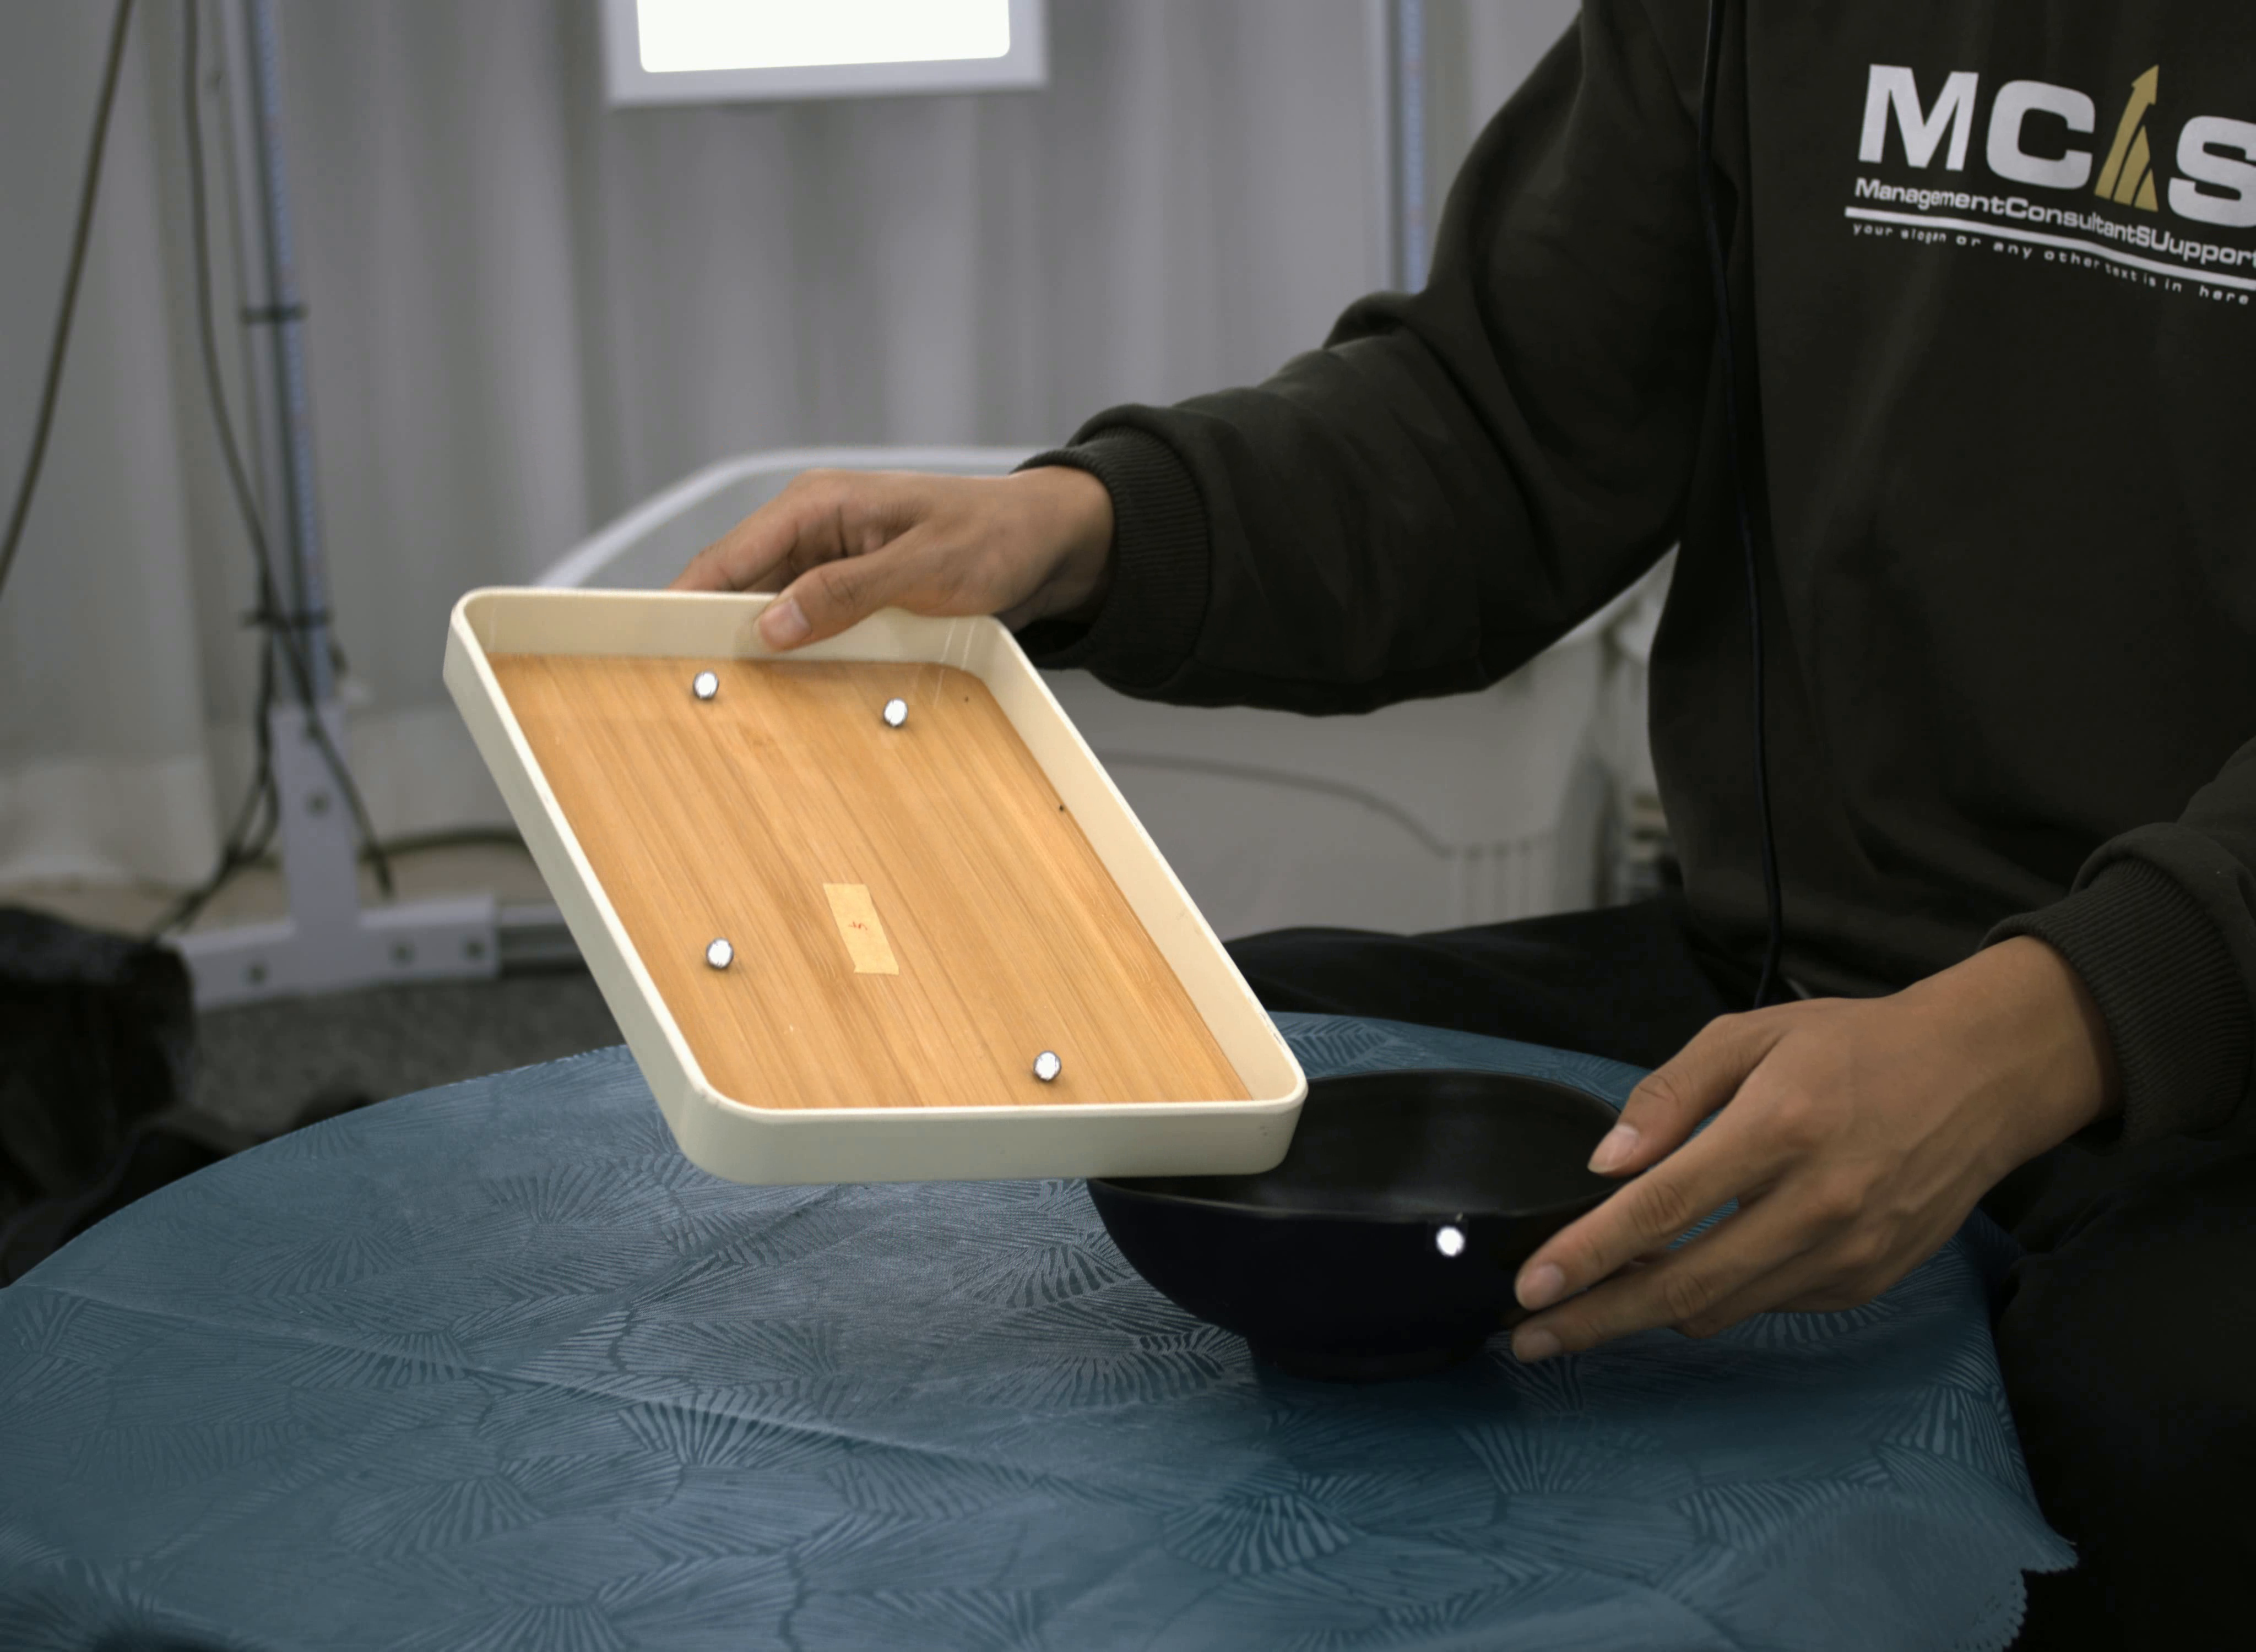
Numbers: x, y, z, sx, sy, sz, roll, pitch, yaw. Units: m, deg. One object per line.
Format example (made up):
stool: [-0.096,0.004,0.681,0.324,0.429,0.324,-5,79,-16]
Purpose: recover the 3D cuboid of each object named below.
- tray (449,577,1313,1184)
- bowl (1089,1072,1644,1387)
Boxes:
tray: [-0.081,0.012,1.665,0.190,0.027,0.304,1,32,-24]
bowl: [0.068,0.120,1.565,0.170,0.066,0.137,1,14,31]
